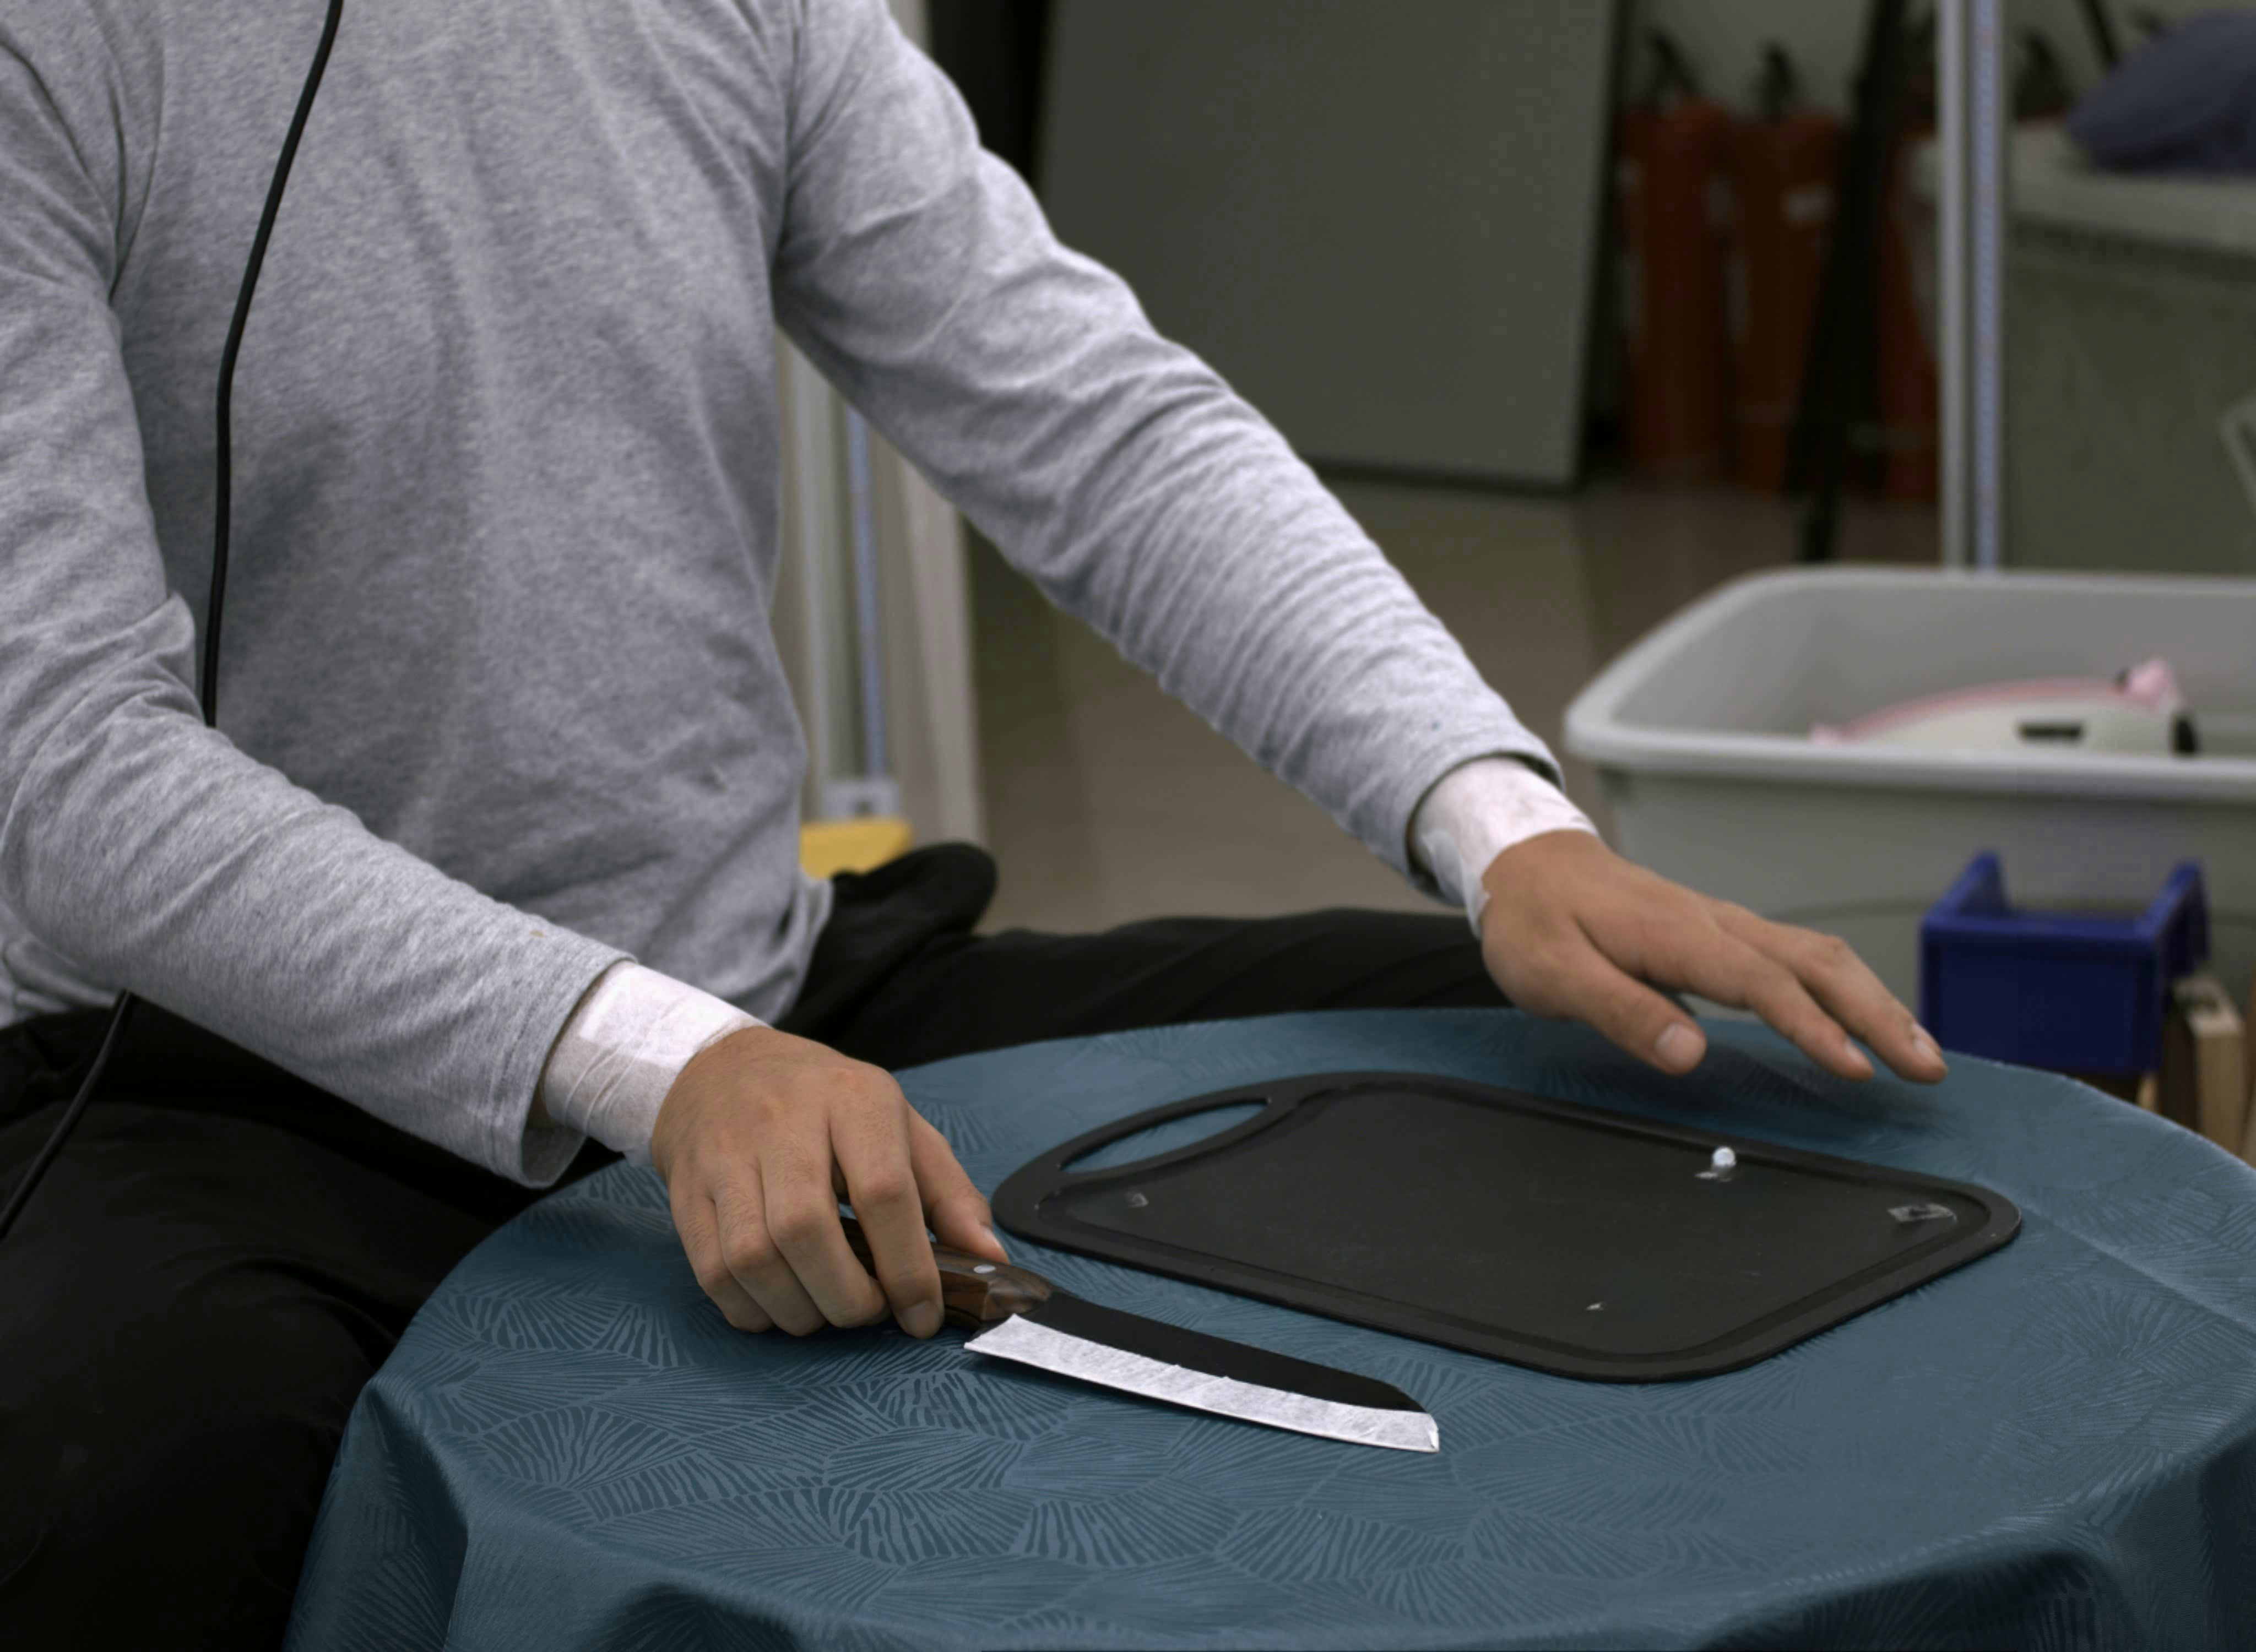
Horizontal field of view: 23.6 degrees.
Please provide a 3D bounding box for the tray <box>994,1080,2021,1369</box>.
[{"bbox_3d":[0.111,0.122,1.727,0.207,0.010,0.328,-16,18,-42],"label":"tray"}]

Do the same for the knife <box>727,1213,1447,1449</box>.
[{"bbox_3d":[-0.017,0.153,1.618,0.291,0.020,0.049,11,26,41],"label":"knife"}]
